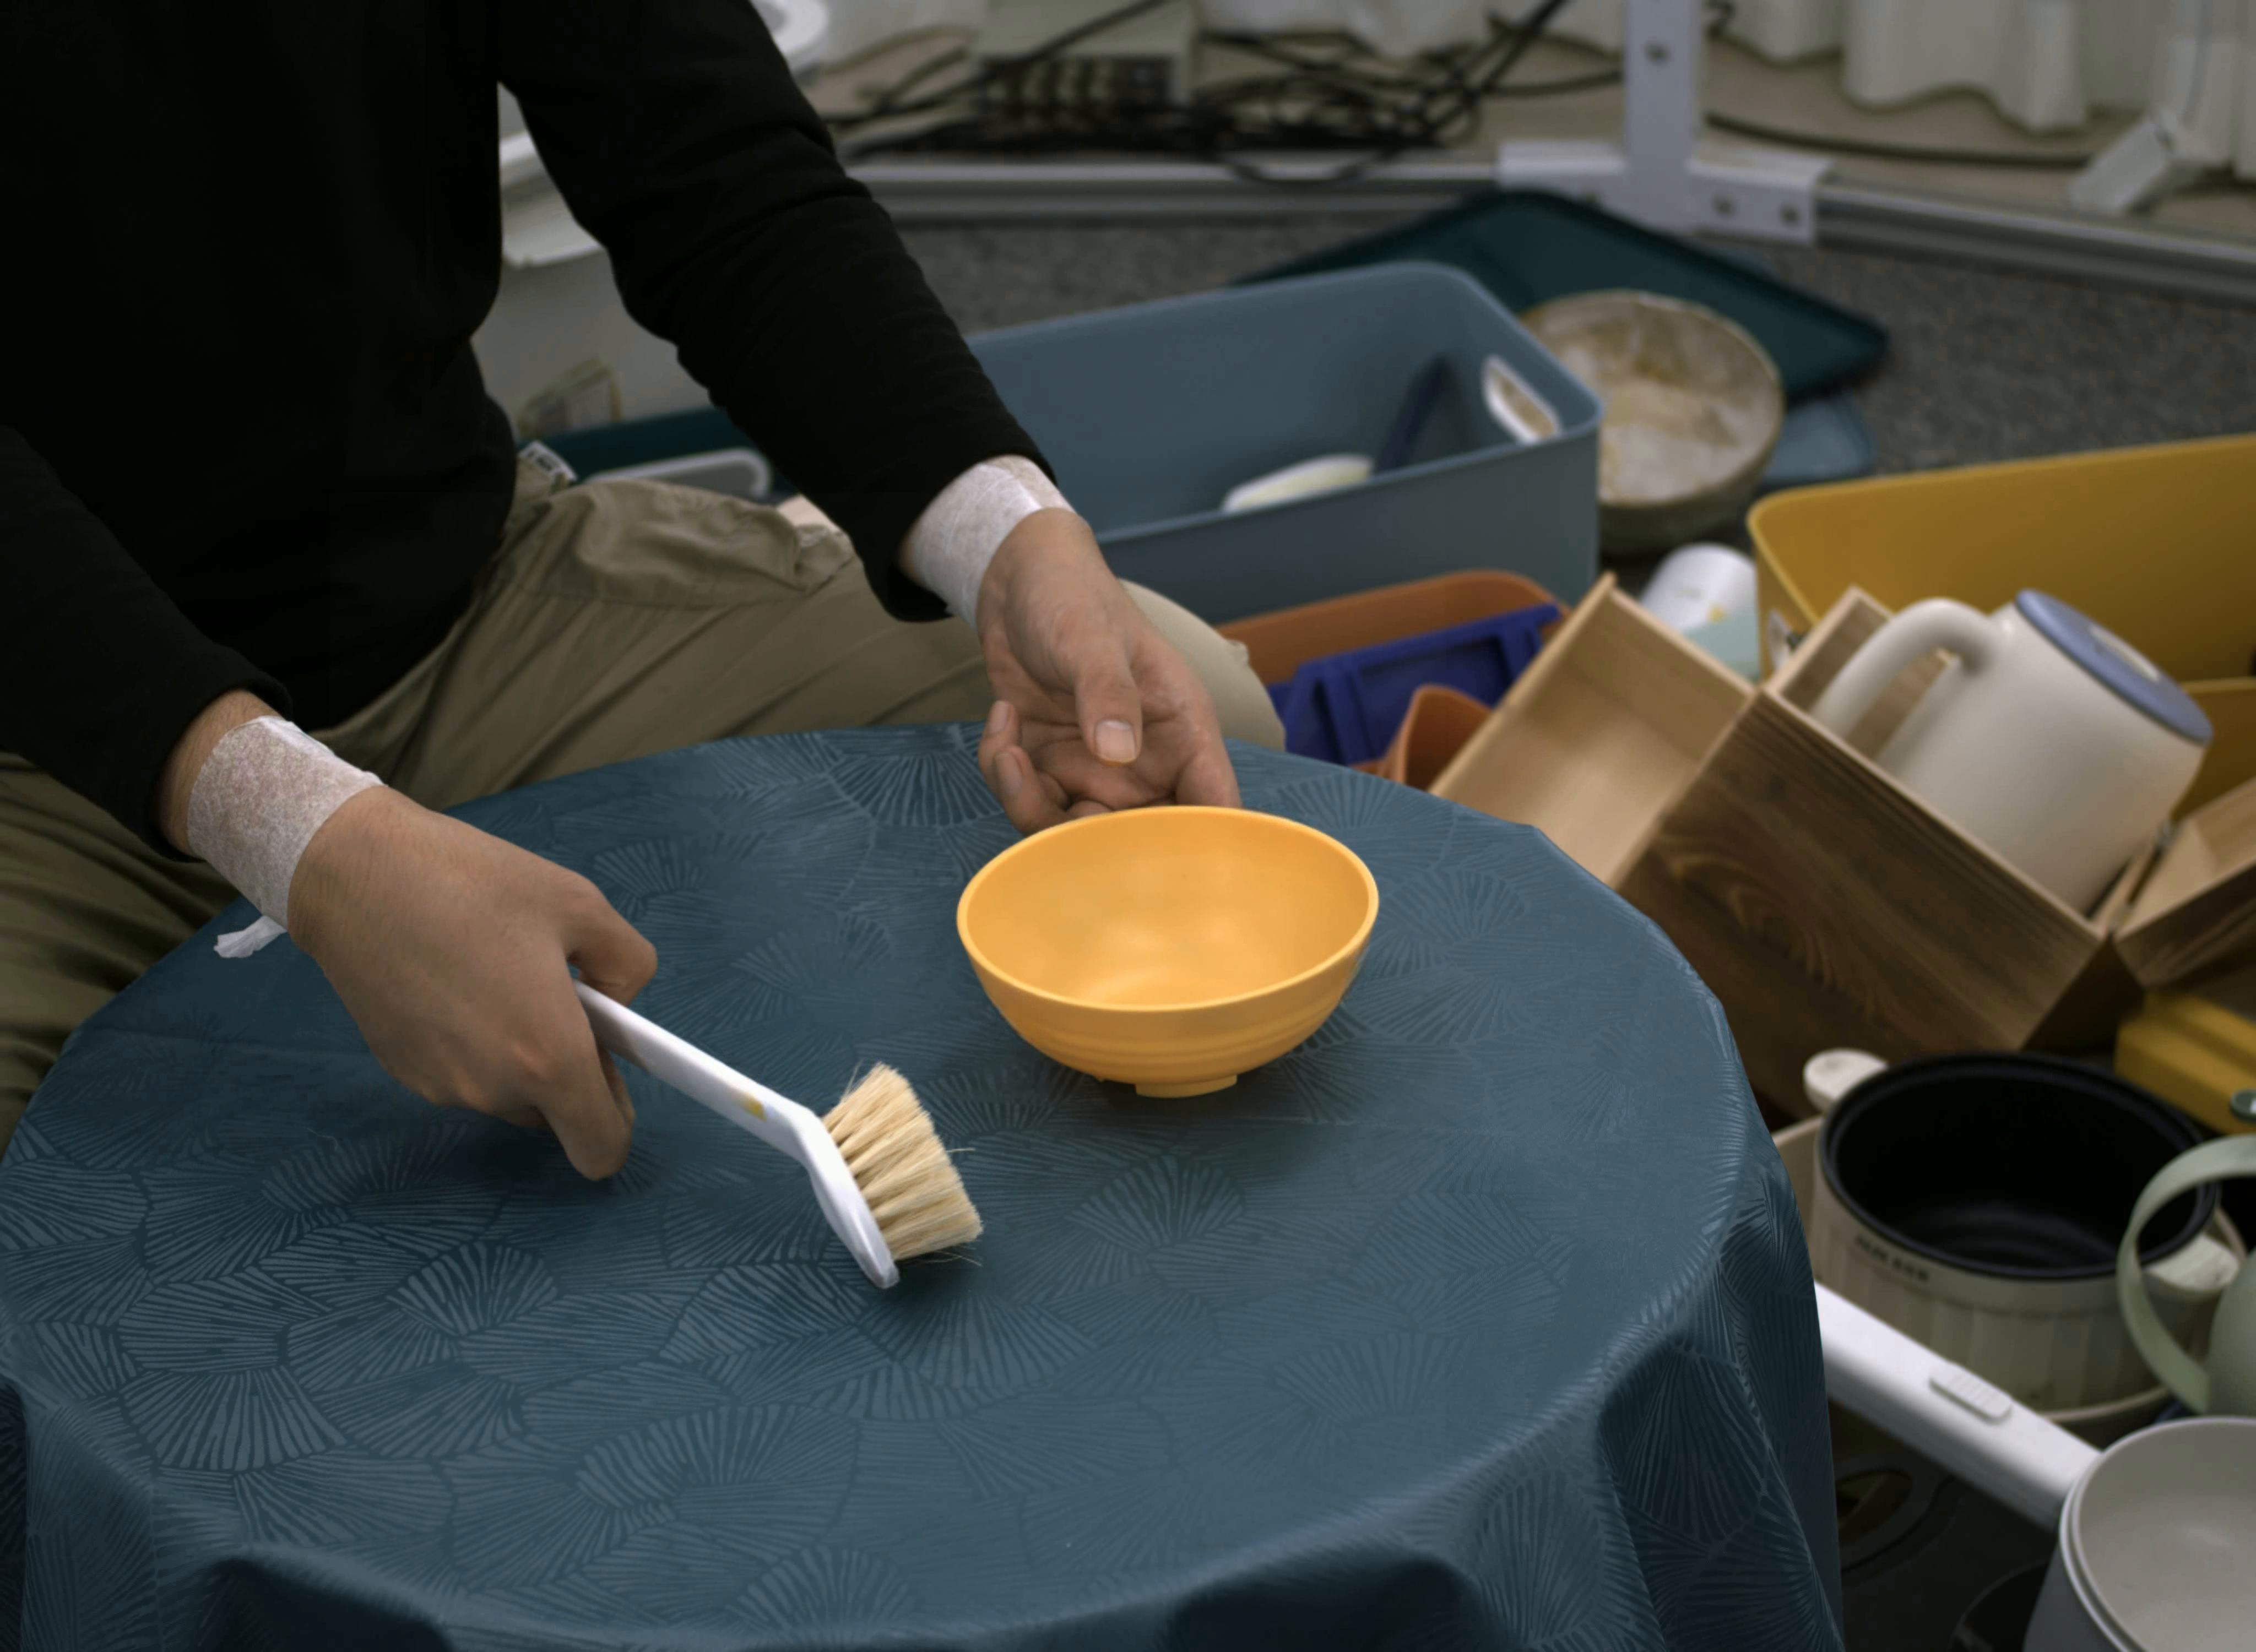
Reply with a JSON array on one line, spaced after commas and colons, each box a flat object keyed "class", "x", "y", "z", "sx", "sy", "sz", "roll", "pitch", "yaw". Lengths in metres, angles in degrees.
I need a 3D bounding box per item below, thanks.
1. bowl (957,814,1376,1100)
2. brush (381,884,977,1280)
[{"class": "bowl", "x": 0.014, "y": 0.053, "z": 1.930, "sx": 0.144, "sy": 0.059, "sz": 0.147, "roll": -2, "pitch": 26, "yaw": 1}, {"class": "brush", "x": -0.147, "y": 0.068, "z": 1.866, "sx": 0.057, "sy": 0.067, "sz": 0.267, "roll": -39, "pitch": 49, "yaw": -25}]
